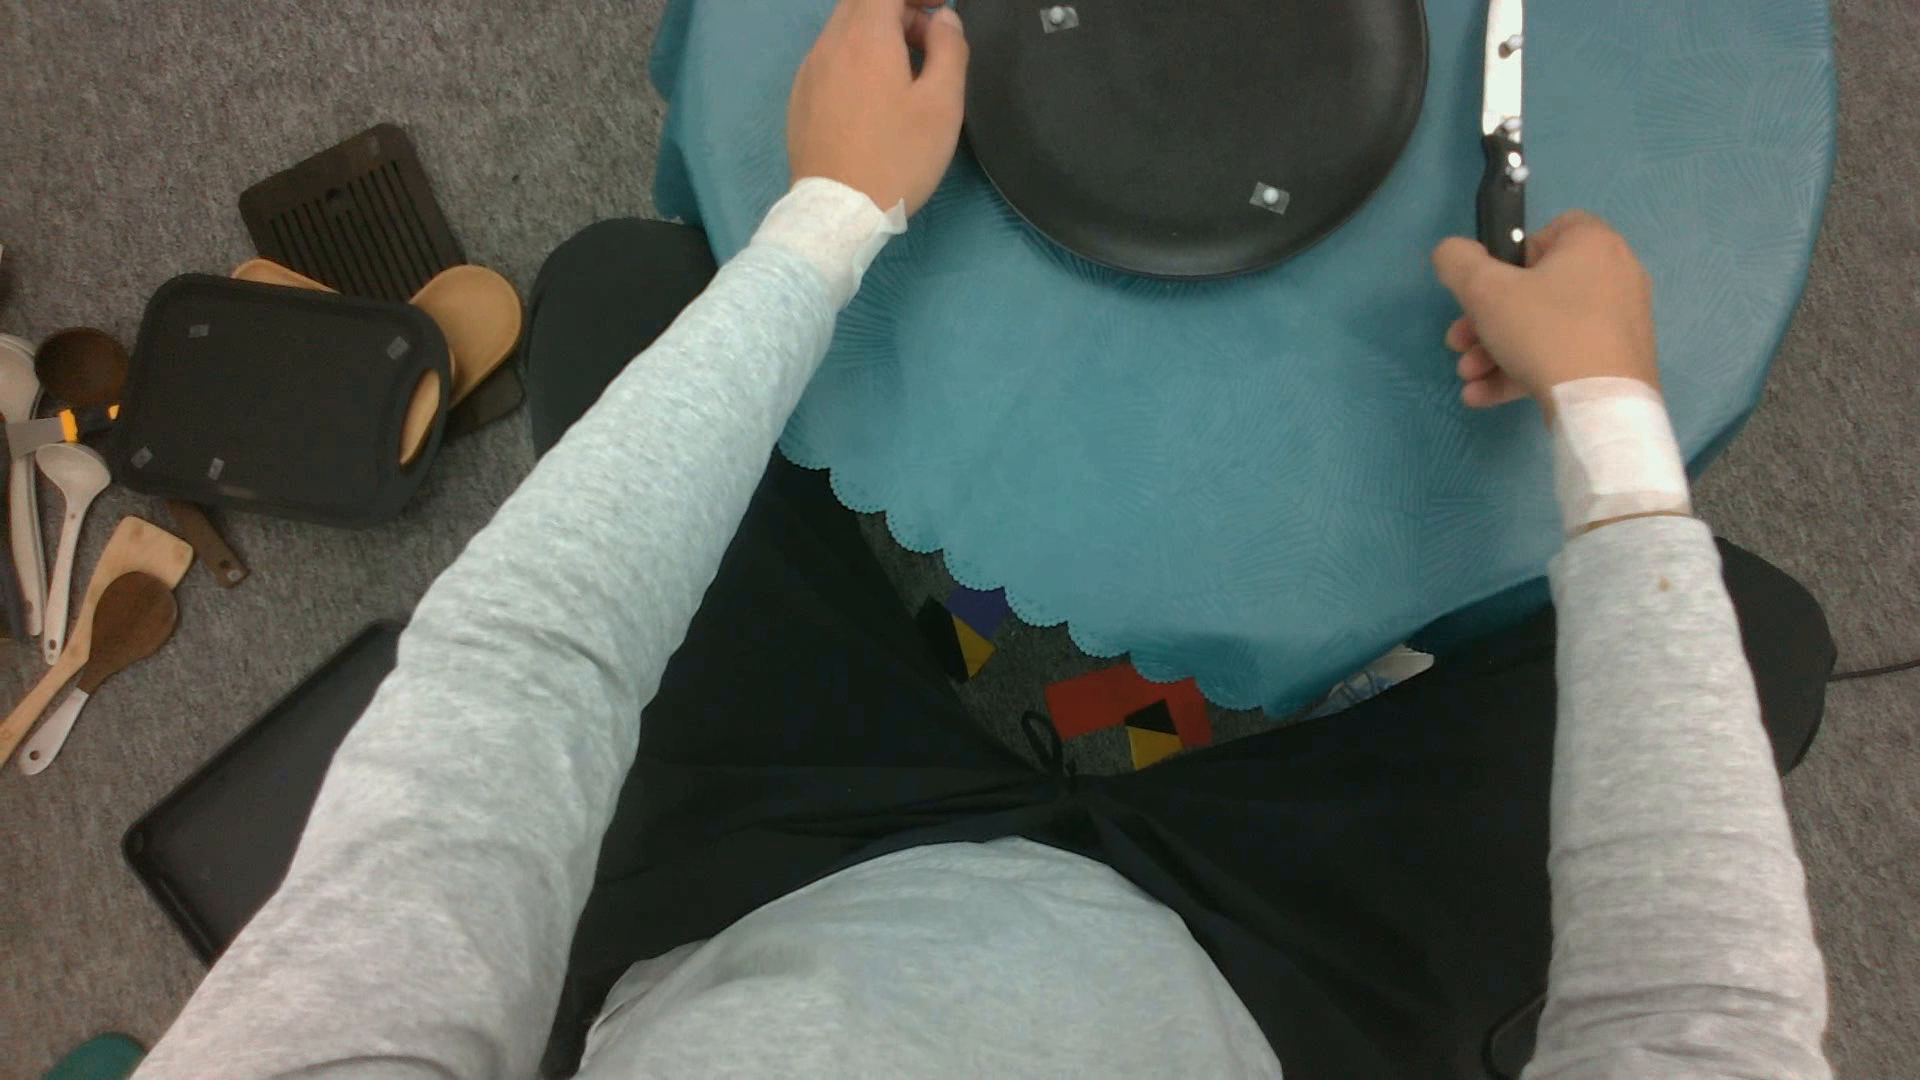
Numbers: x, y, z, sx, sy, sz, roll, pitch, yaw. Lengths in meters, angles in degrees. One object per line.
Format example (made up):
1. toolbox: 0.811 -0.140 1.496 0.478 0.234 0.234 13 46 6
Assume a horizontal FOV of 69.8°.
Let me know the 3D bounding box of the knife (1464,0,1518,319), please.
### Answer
1. knife: 0.266 -0.218 0.692 0.024 0.016 0.239 9 71 -13

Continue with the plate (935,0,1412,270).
1. plate: 0.109 -0.257 0.714 0.244 0.023 0.244 0 84 1
